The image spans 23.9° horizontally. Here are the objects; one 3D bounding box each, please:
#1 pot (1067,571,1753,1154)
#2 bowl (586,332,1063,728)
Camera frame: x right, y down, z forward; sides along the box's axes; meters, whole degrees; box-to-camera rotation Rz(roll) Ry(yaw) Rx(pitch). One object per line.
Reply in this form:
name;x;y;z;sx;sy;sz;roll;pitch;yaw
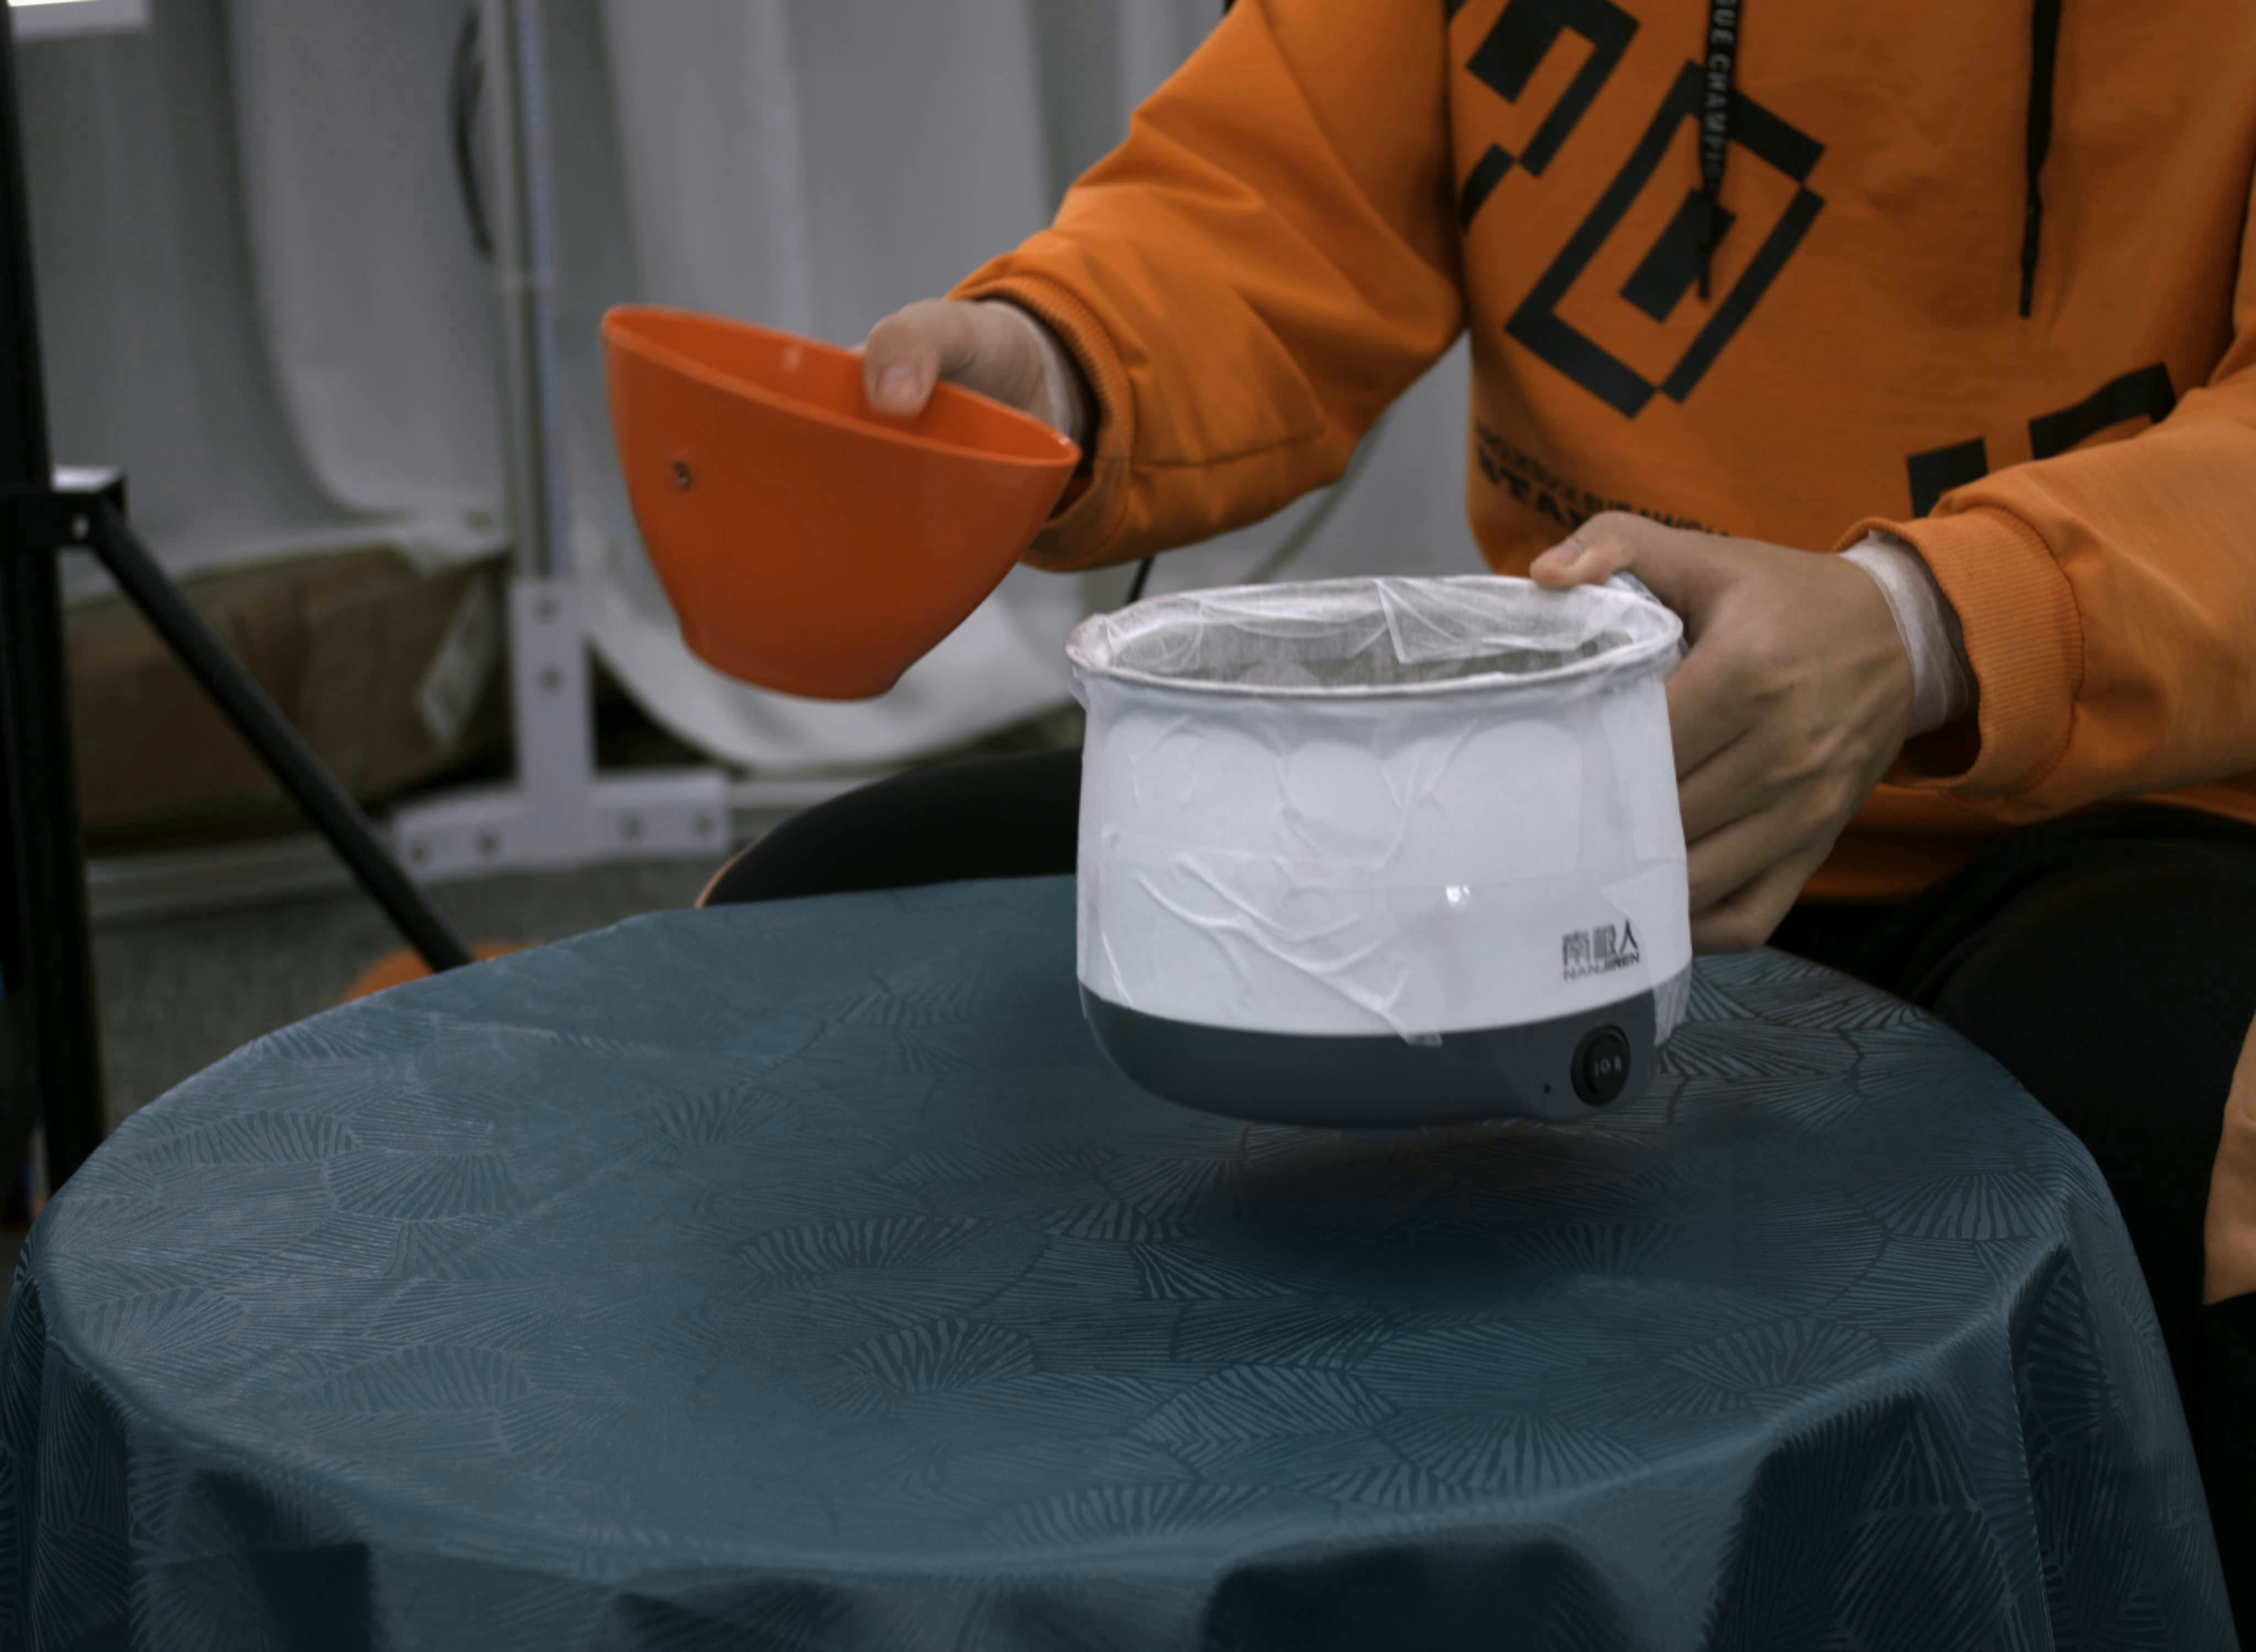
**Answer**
pot;0.093;0.004;1.536;0.228;0.137;0.183;-13;16;-41
bowl;-0.099;-0.087;1.597;0.147;0.105;0.149;12;19;-6
